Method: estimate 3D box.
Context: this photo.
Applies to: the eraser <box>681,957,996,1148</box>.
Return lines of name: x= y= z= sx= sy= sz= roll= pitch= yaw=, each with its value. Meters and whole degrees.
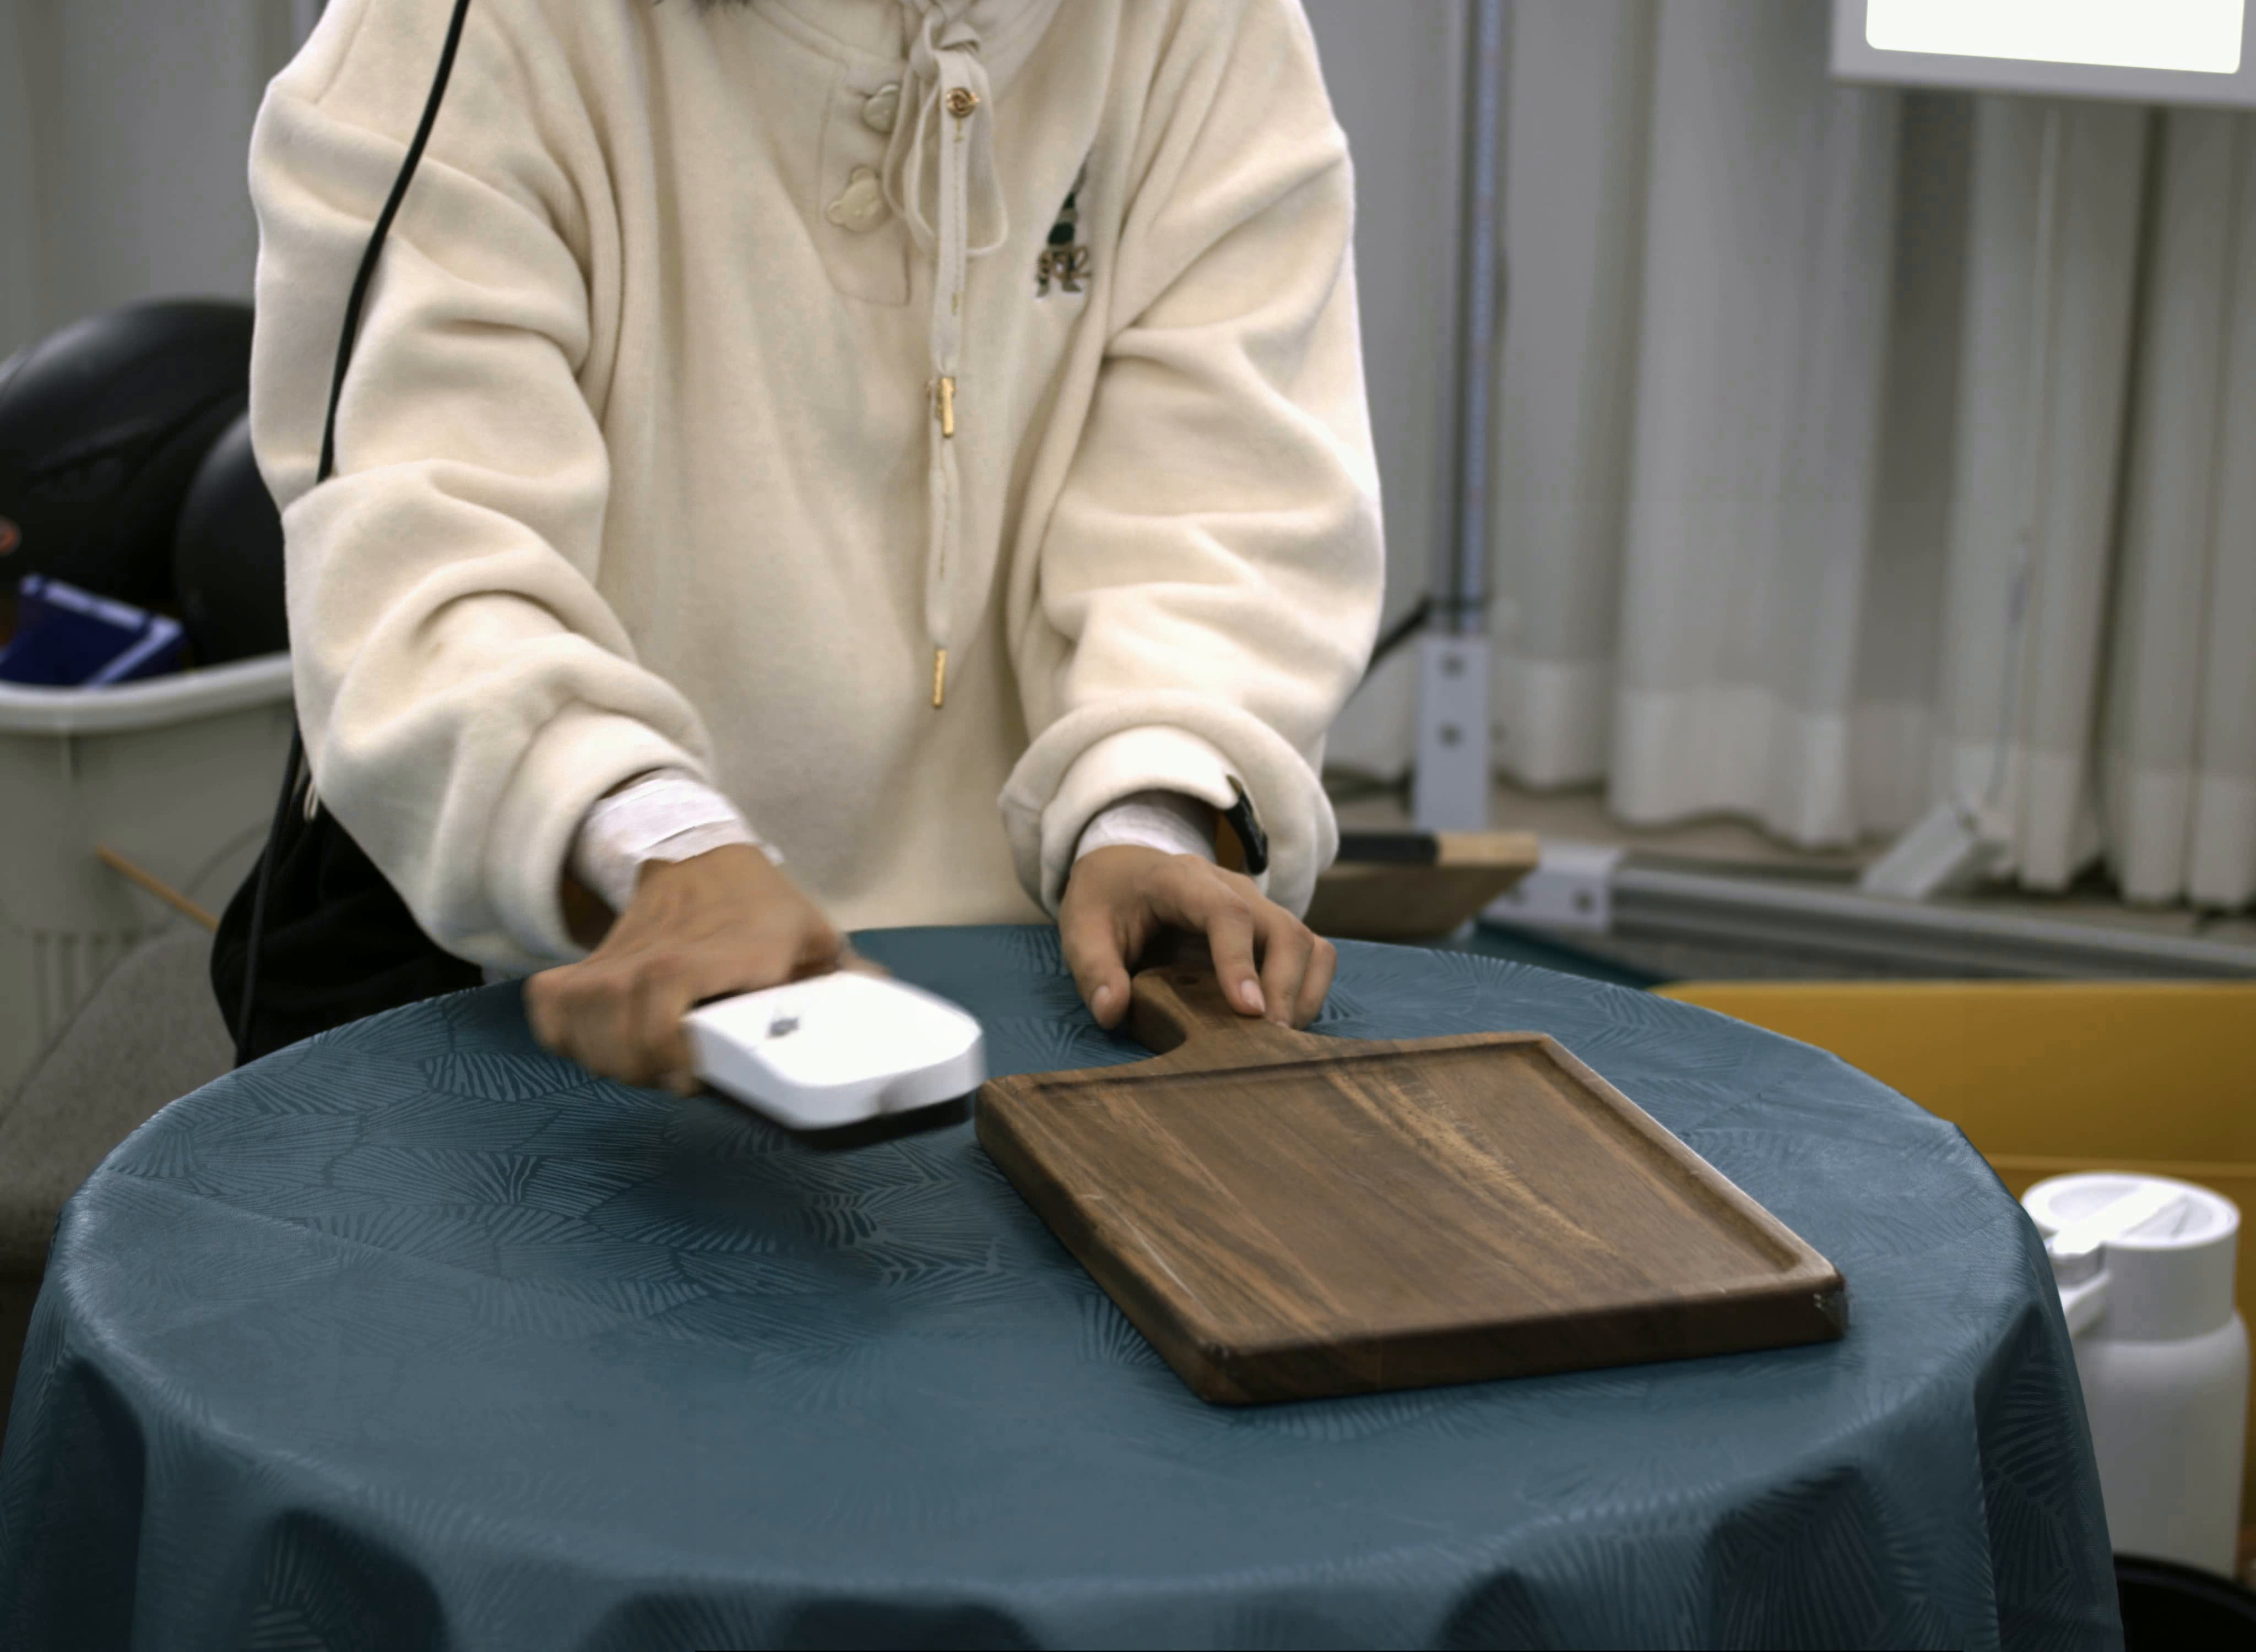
eraser: x=-0.086 y=0.065 z=1.578 sx=0.063 sy=0.035 sz=0.130 roll=-12 pitch=13 yaw=-22

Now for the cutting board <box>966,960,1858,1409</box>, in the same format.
cutting board: x=0.064 y=0.100 z=1.627 sx=0.201 sy=0.023 sz=0.348 roll=-4 pitch=16 yaw=-18
